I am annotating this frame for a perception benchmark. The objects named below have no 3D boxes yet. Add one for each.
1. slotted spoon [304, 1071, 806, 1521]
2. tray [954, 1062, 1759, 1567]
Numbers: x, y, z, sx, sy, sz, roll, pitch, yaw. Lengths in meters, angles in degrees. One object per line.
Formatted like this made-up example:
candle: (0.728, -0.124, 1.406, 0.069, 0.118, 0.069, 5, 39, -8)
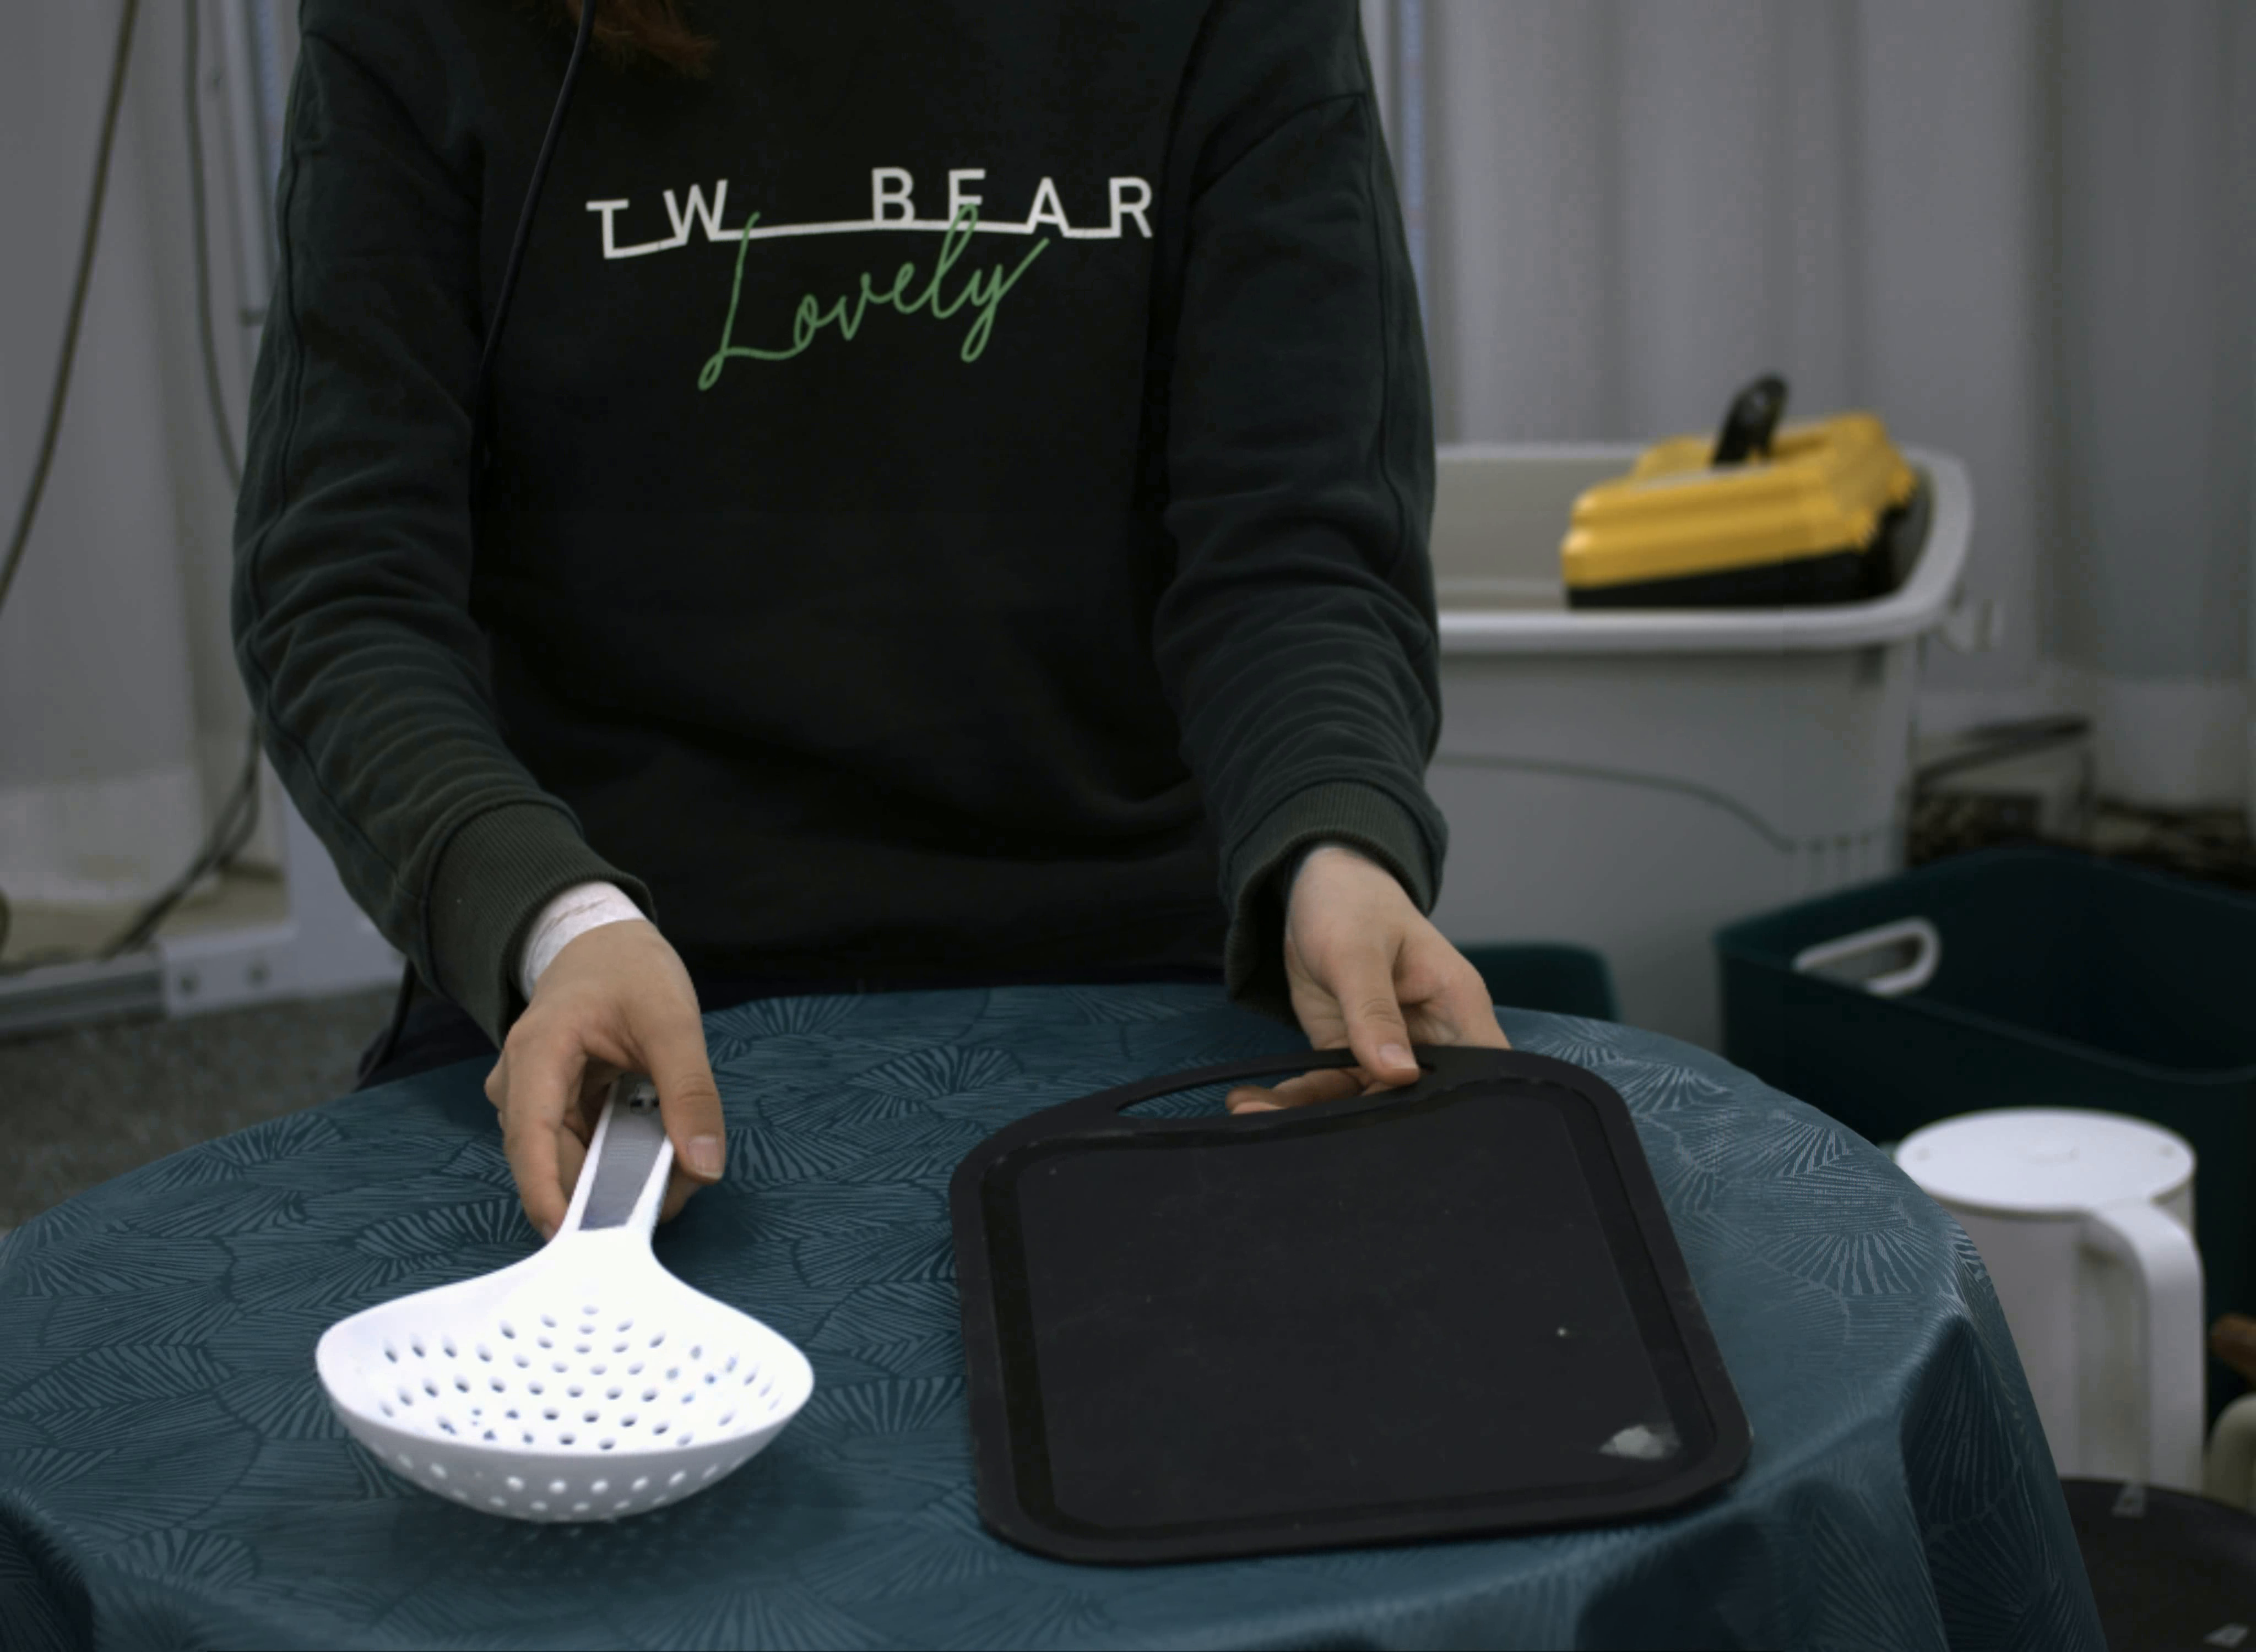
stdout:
slotted spoon: (-0.153, 0.127, 1.580, 0.135, 0.045, 0.352, 4, 18, 0)
tray: (0.057, 0.131, 1.572, 0.210, 0.010, 0.328, -5, 20, -2)
